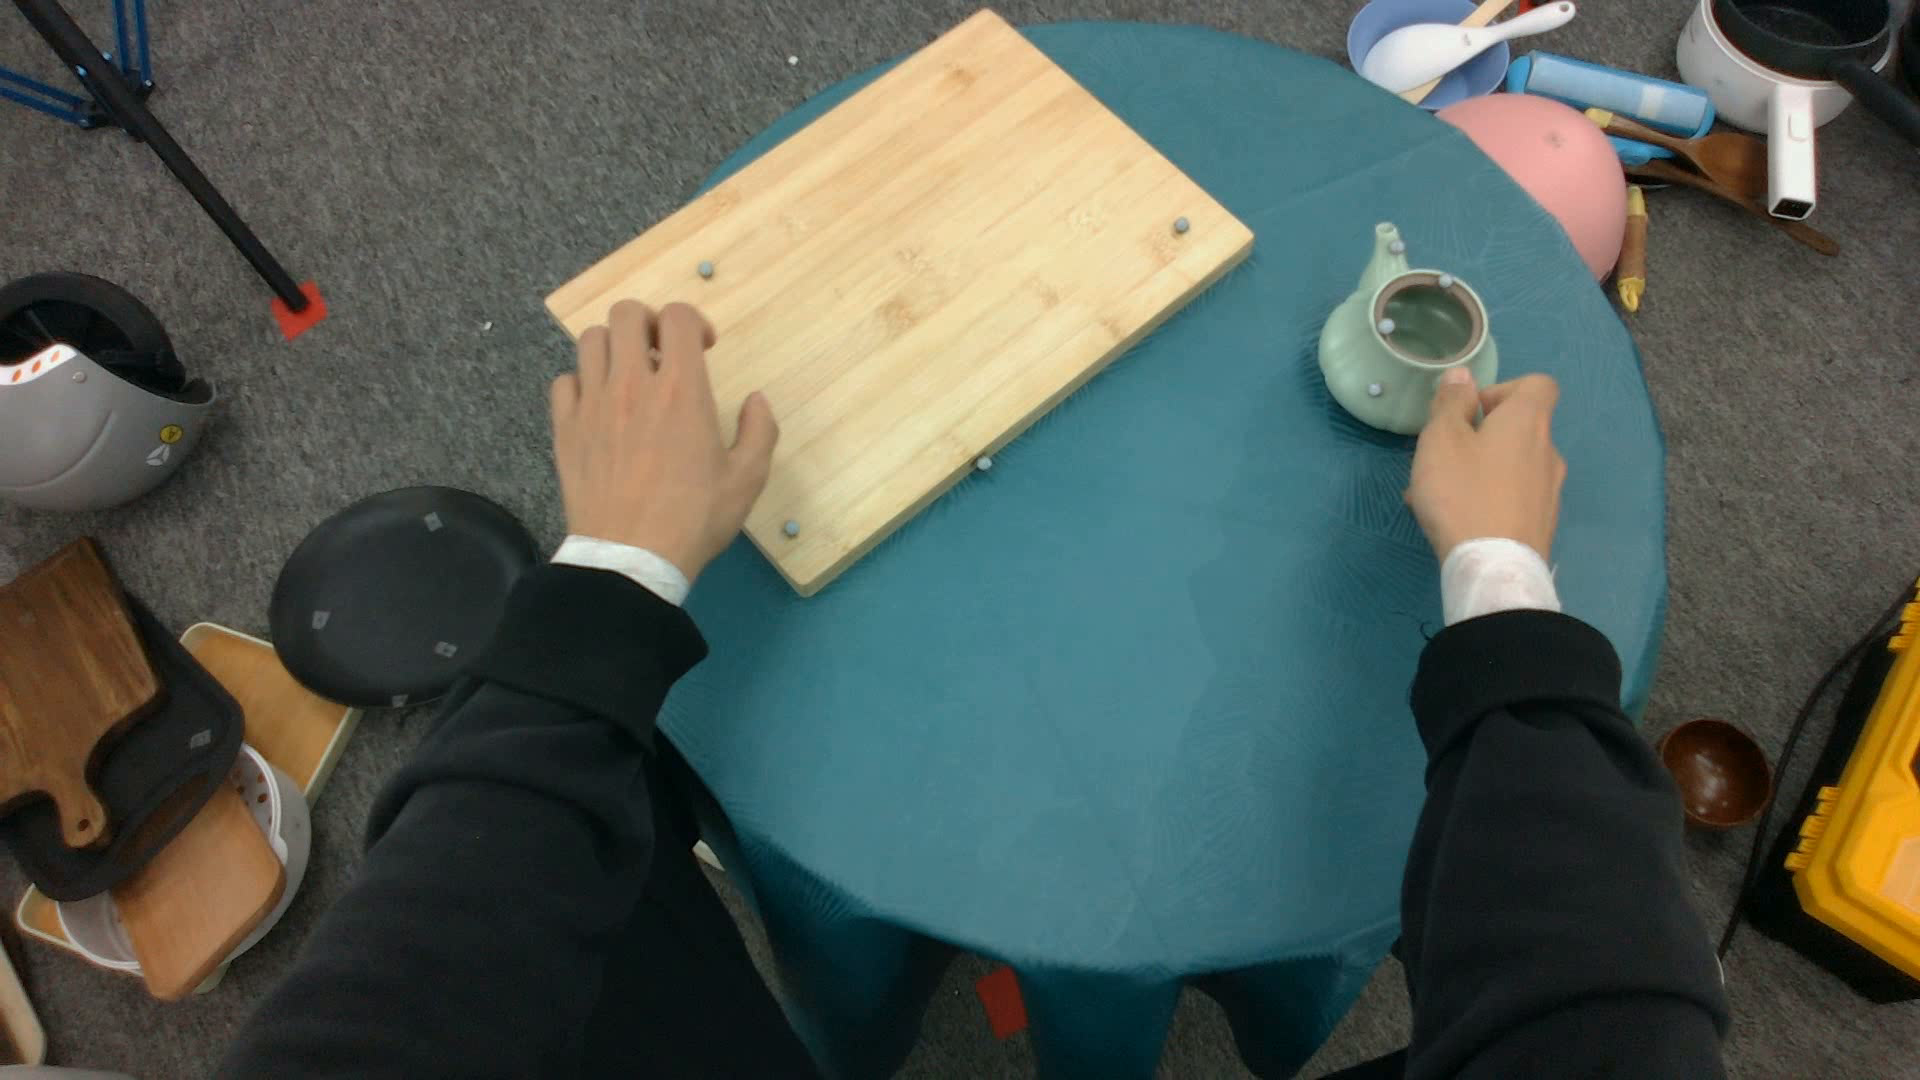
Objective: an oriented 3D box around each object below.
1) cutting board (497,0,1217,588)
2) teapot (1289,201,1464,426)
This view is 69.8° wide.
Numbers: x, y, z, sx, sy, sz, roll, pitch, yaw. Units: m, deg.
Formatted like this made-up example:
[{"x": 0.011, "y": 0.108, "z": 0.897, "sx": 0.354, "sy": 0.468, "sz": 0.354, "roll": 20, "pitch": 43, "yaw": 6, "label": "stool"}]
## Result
[{"x": -0.054, "y": -0.163, "z": 0.802, "sx": 0.349, "sy": 0.023, "sz": 0.251, "roll": -40, "pitch": 72, "yaw": -17, "label": "cutting board"}, {"x": 0.235, "y": -0.117, "z": 0.758, "sx": 0.096, "sy": 0.061, "sz": 0.137, "roll": -16, "pitch": 66, "yaw": -9, "label": "teapot"}]
